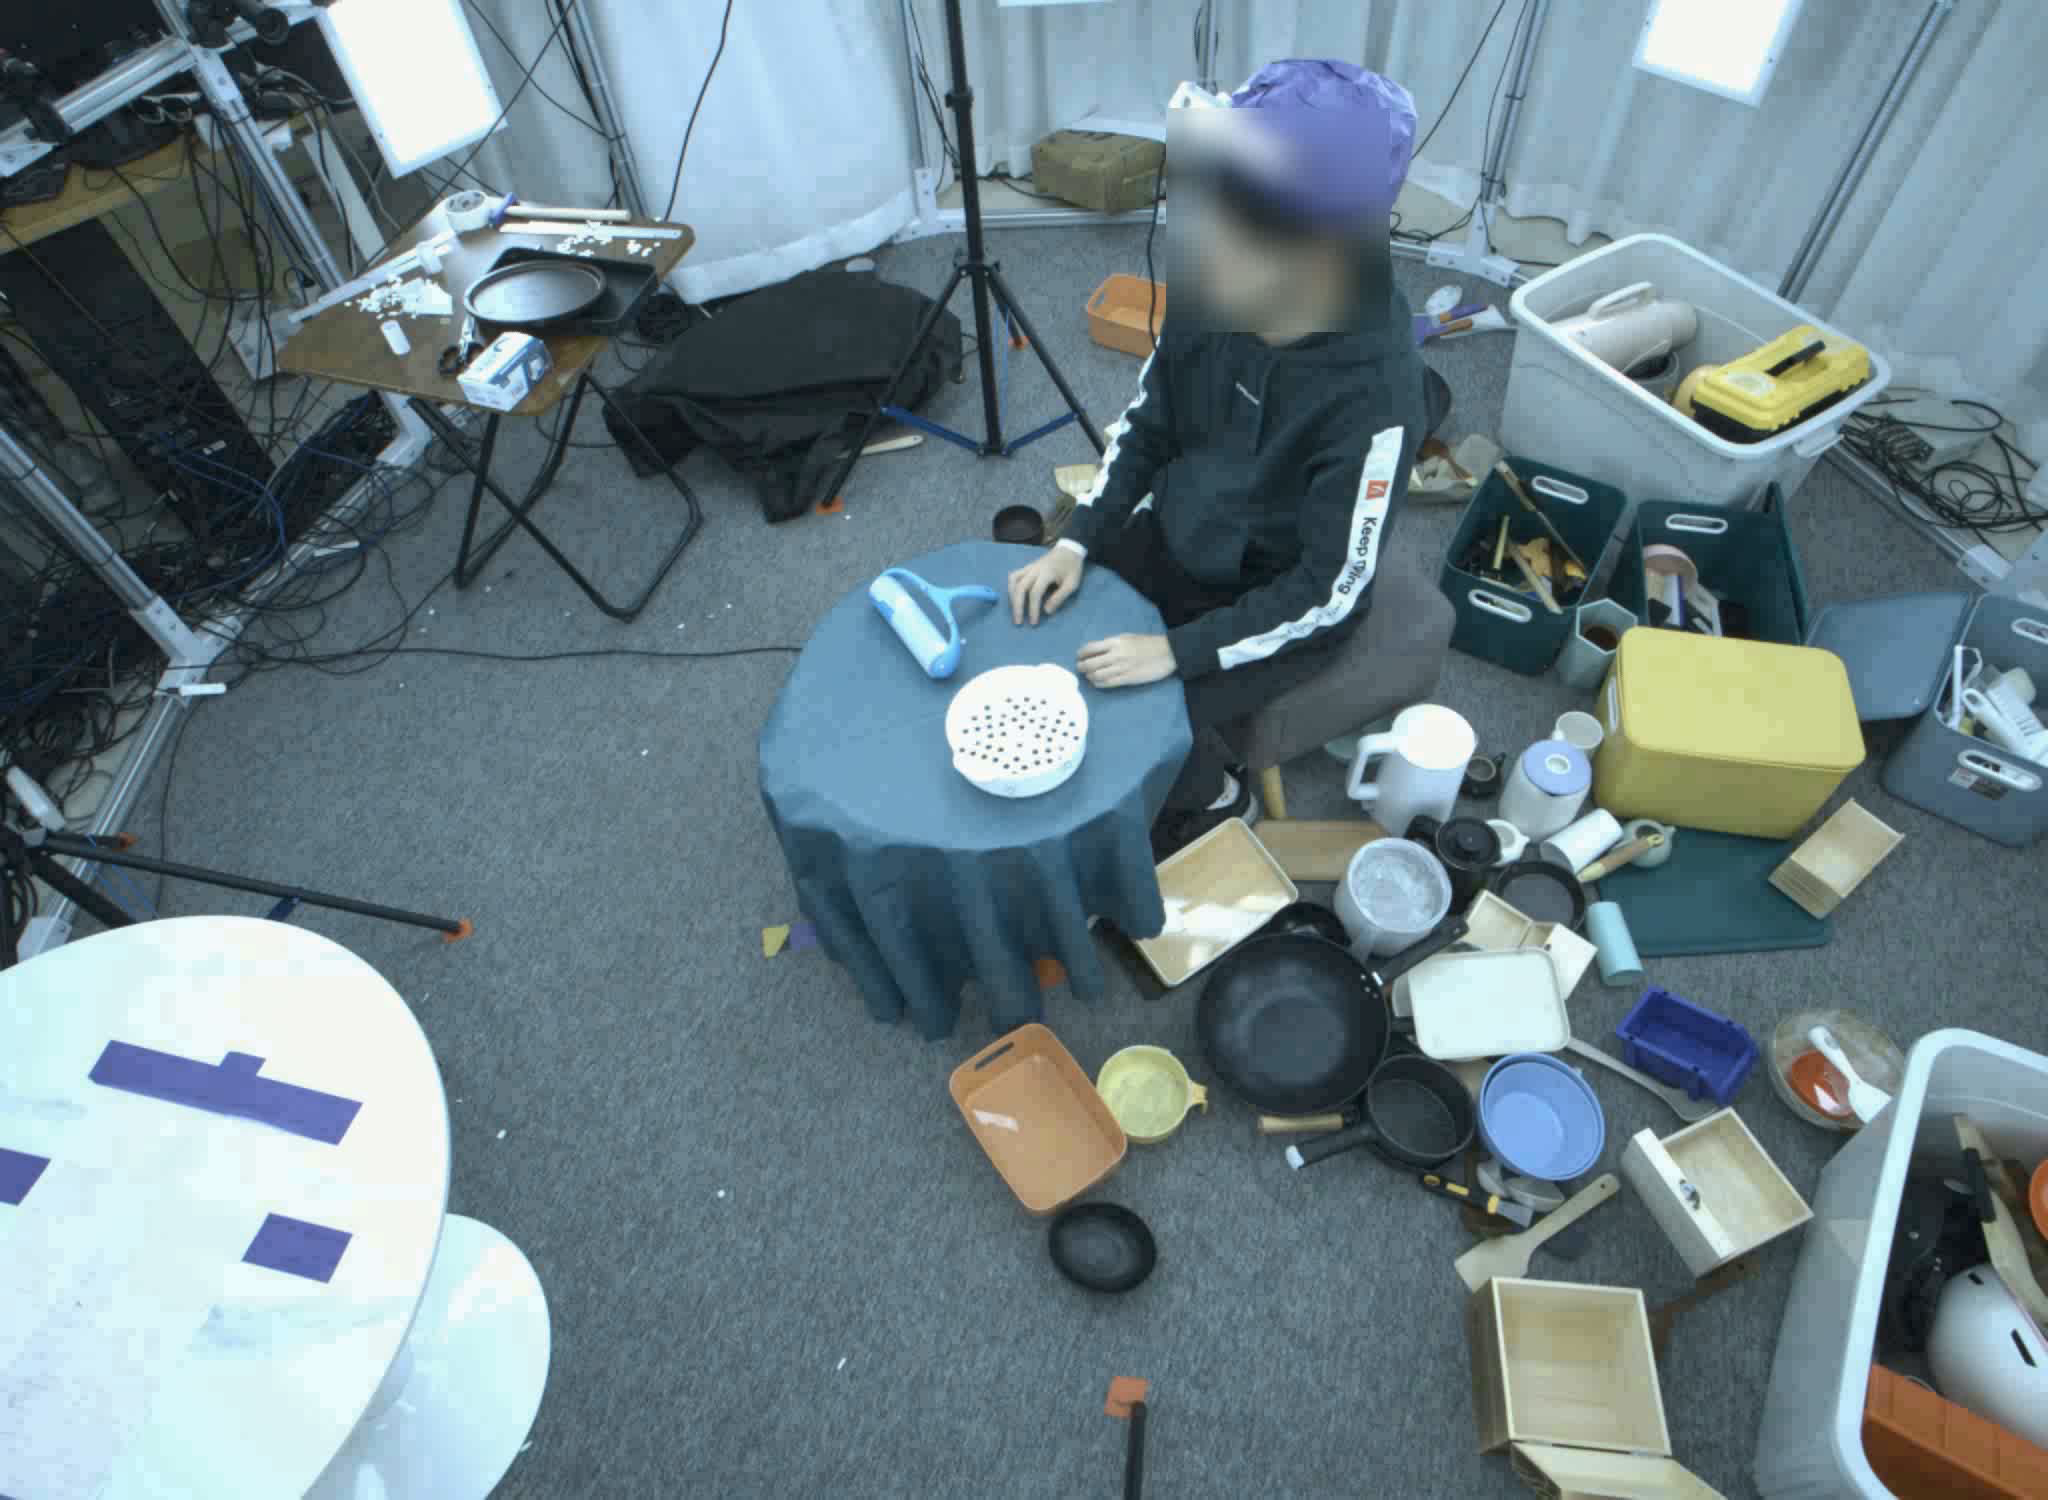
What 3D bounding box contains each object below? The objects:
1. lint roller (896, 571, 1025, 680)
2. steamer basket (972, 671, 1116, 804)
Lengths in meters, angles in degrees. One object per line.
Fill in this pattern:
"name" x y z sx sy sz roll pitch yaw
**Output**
"lint roller" -0.080 -0.217 1.906 0.181 0.069 0.224 -31 57 -17
"steamer basket" 0.029 -0.016 1.750 0.198 0.070 0.232 33 61 22
